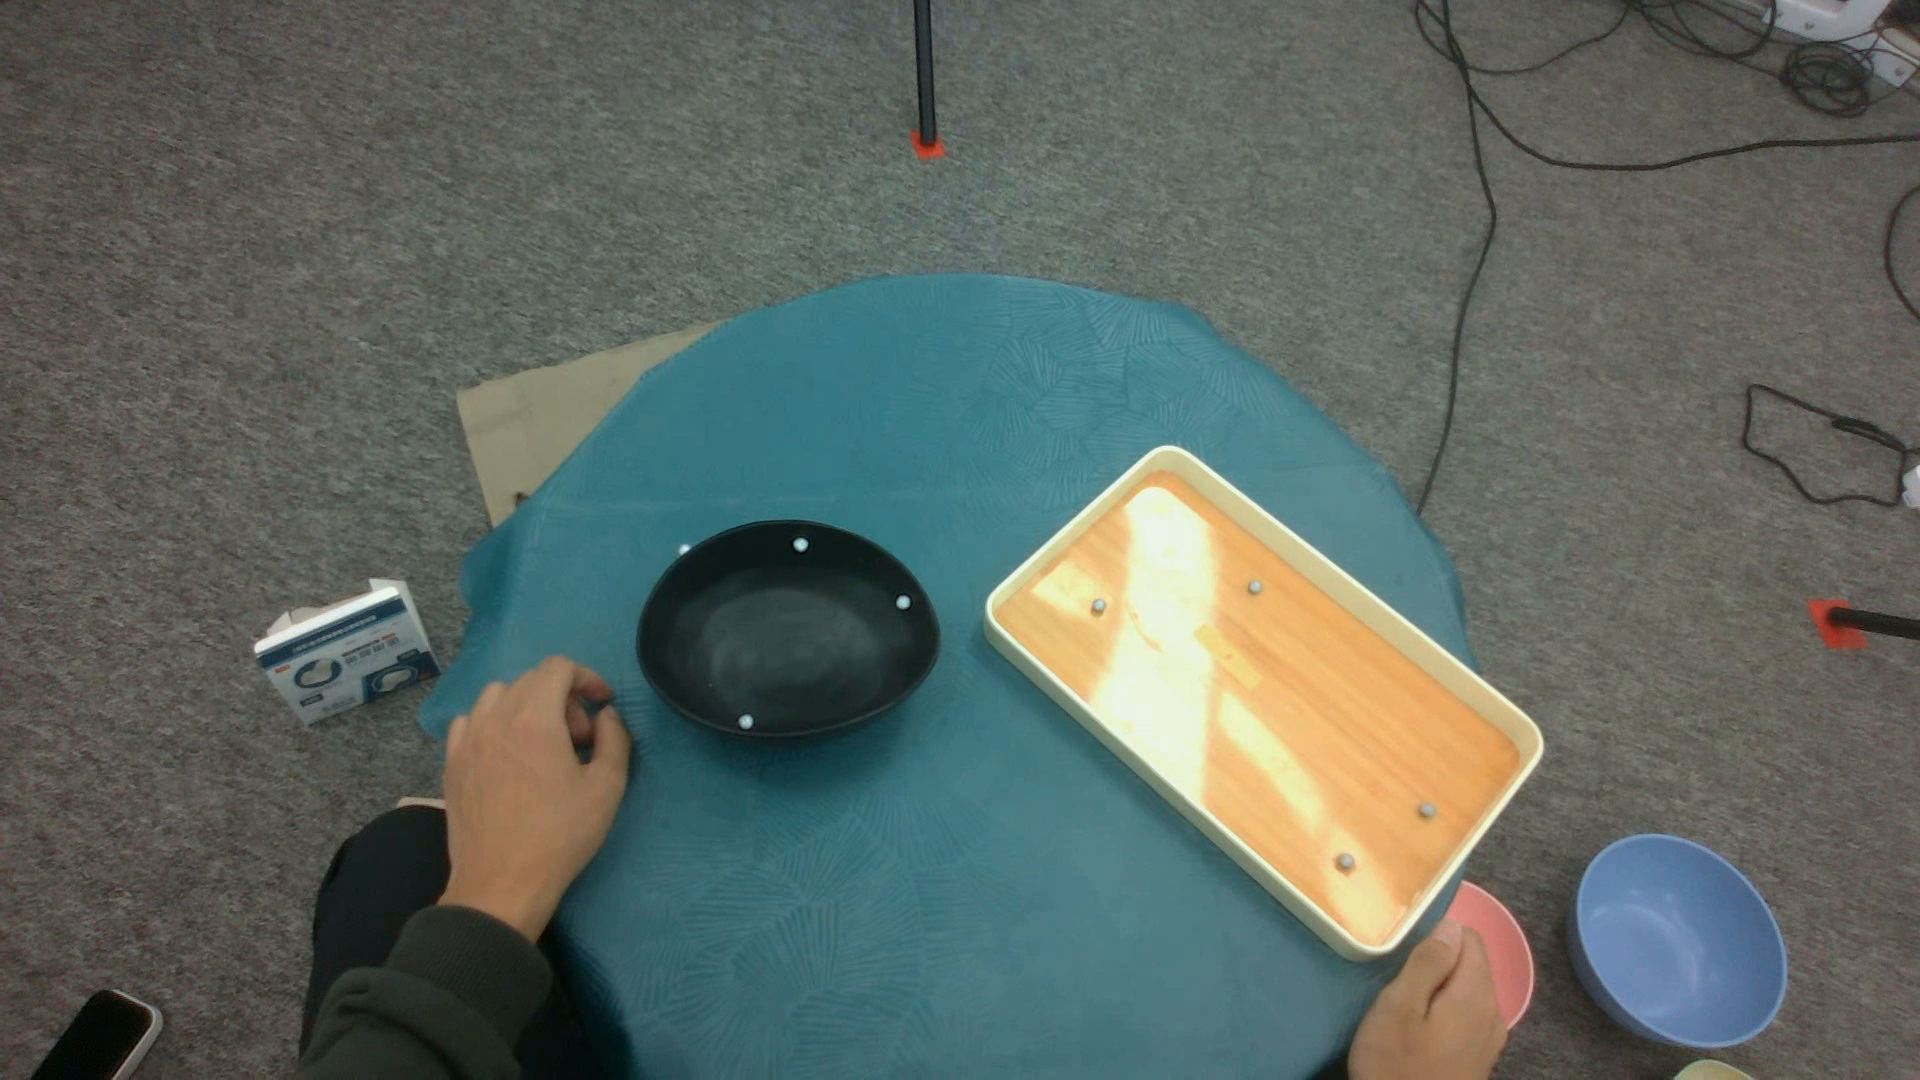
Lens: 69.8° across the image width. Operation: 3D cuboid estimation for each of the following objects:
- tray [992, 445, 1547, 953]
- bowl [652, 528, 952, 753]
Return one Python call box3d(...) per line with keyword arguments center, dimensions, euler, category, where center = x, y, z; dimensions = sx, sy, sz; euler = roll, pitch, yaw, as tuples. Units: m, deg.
box3d(center=(0.185, 0.084, 0.840), dimensions=(0.300, 0.027, 0.192), euler=(40, 63, 18), category="tray")
box3d(center=(-0.091, 0.066, 0.804), dimensions=(0.170, 0.066, 0.138), euler=(-3, 60, -9), category="bowl")
